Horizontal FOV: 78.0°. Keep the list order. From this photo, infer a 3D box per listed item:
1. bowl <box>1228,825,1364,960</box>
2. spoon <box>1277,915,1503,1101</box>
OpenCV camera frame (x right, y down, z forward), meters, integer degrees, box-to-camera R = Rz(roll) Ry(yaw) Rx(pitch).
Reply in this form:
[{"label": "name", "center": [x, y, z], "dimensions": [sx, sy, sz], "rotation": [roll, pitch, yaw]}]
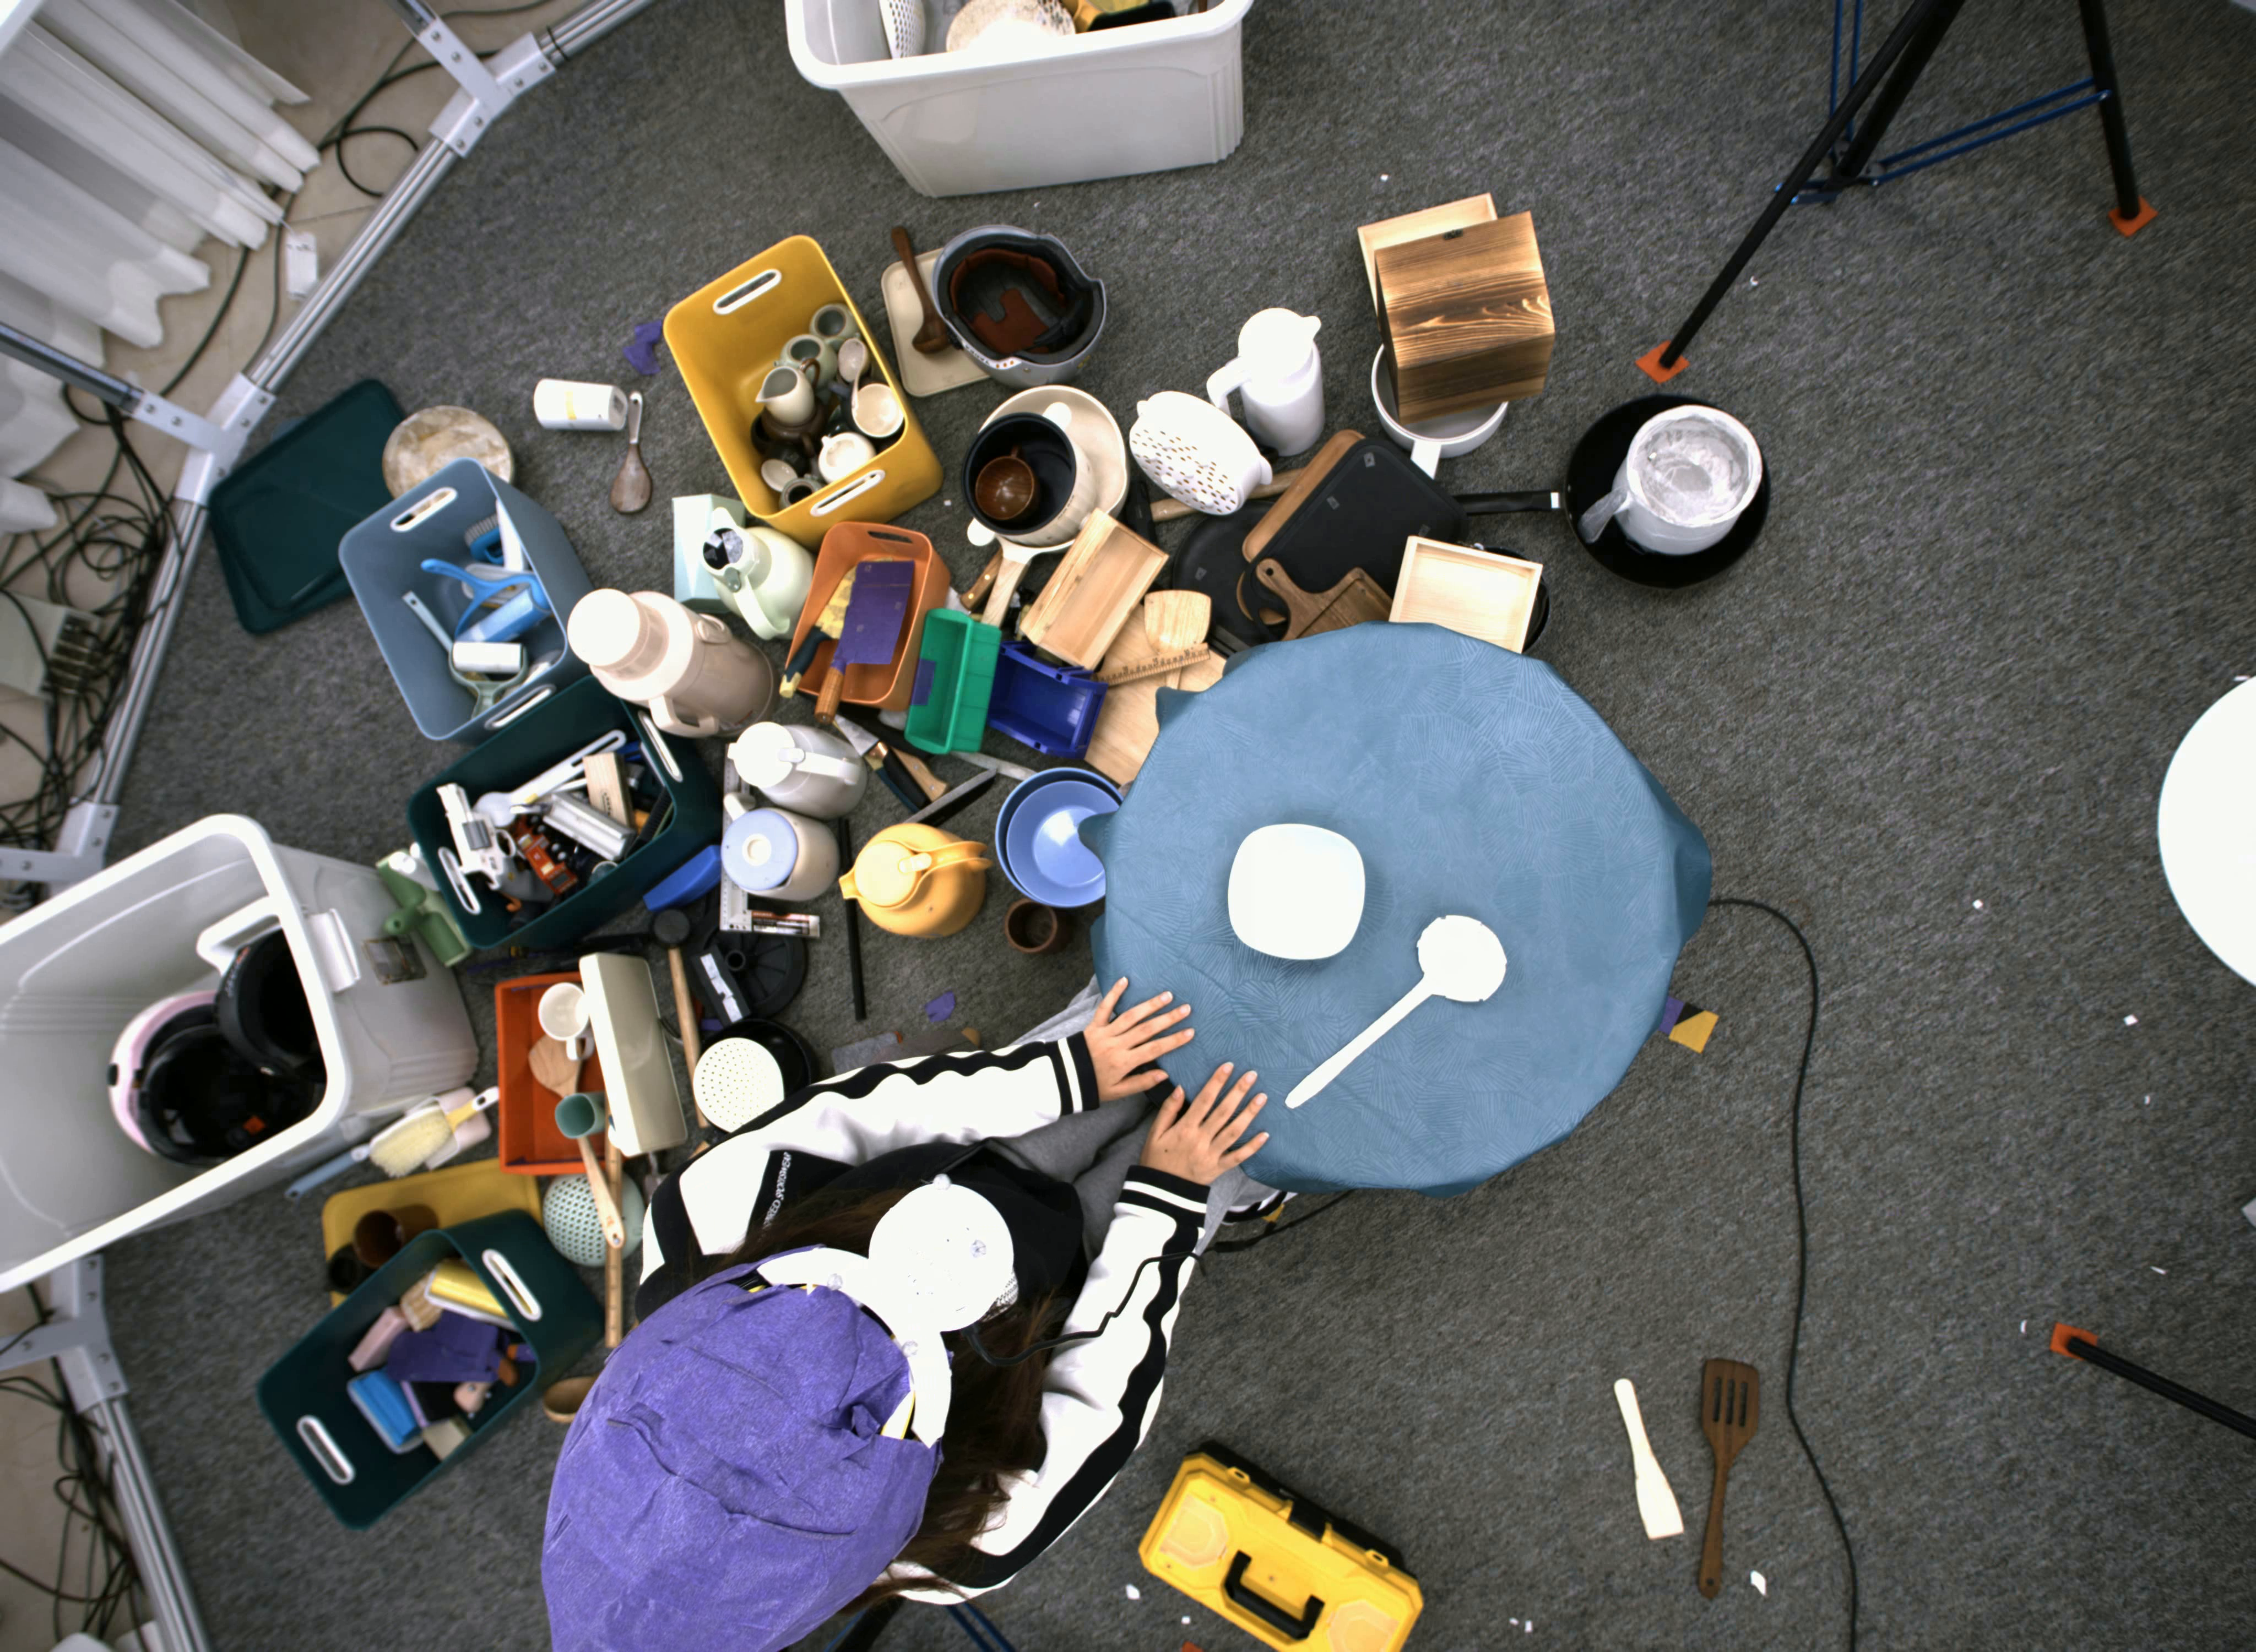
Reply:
[{"label": "bowl", "center": [0.177, 0.070, 1.451], "dimensions": [0.152, 0.058, 0.151], "rotation": [-1, 86, 11]}, {"label": "spoon", "center": [0.260, 0.193, 1.426], "dimensions": [0.279, 0.059, 0.100], "rotation": [-38, 76, 6]}]
